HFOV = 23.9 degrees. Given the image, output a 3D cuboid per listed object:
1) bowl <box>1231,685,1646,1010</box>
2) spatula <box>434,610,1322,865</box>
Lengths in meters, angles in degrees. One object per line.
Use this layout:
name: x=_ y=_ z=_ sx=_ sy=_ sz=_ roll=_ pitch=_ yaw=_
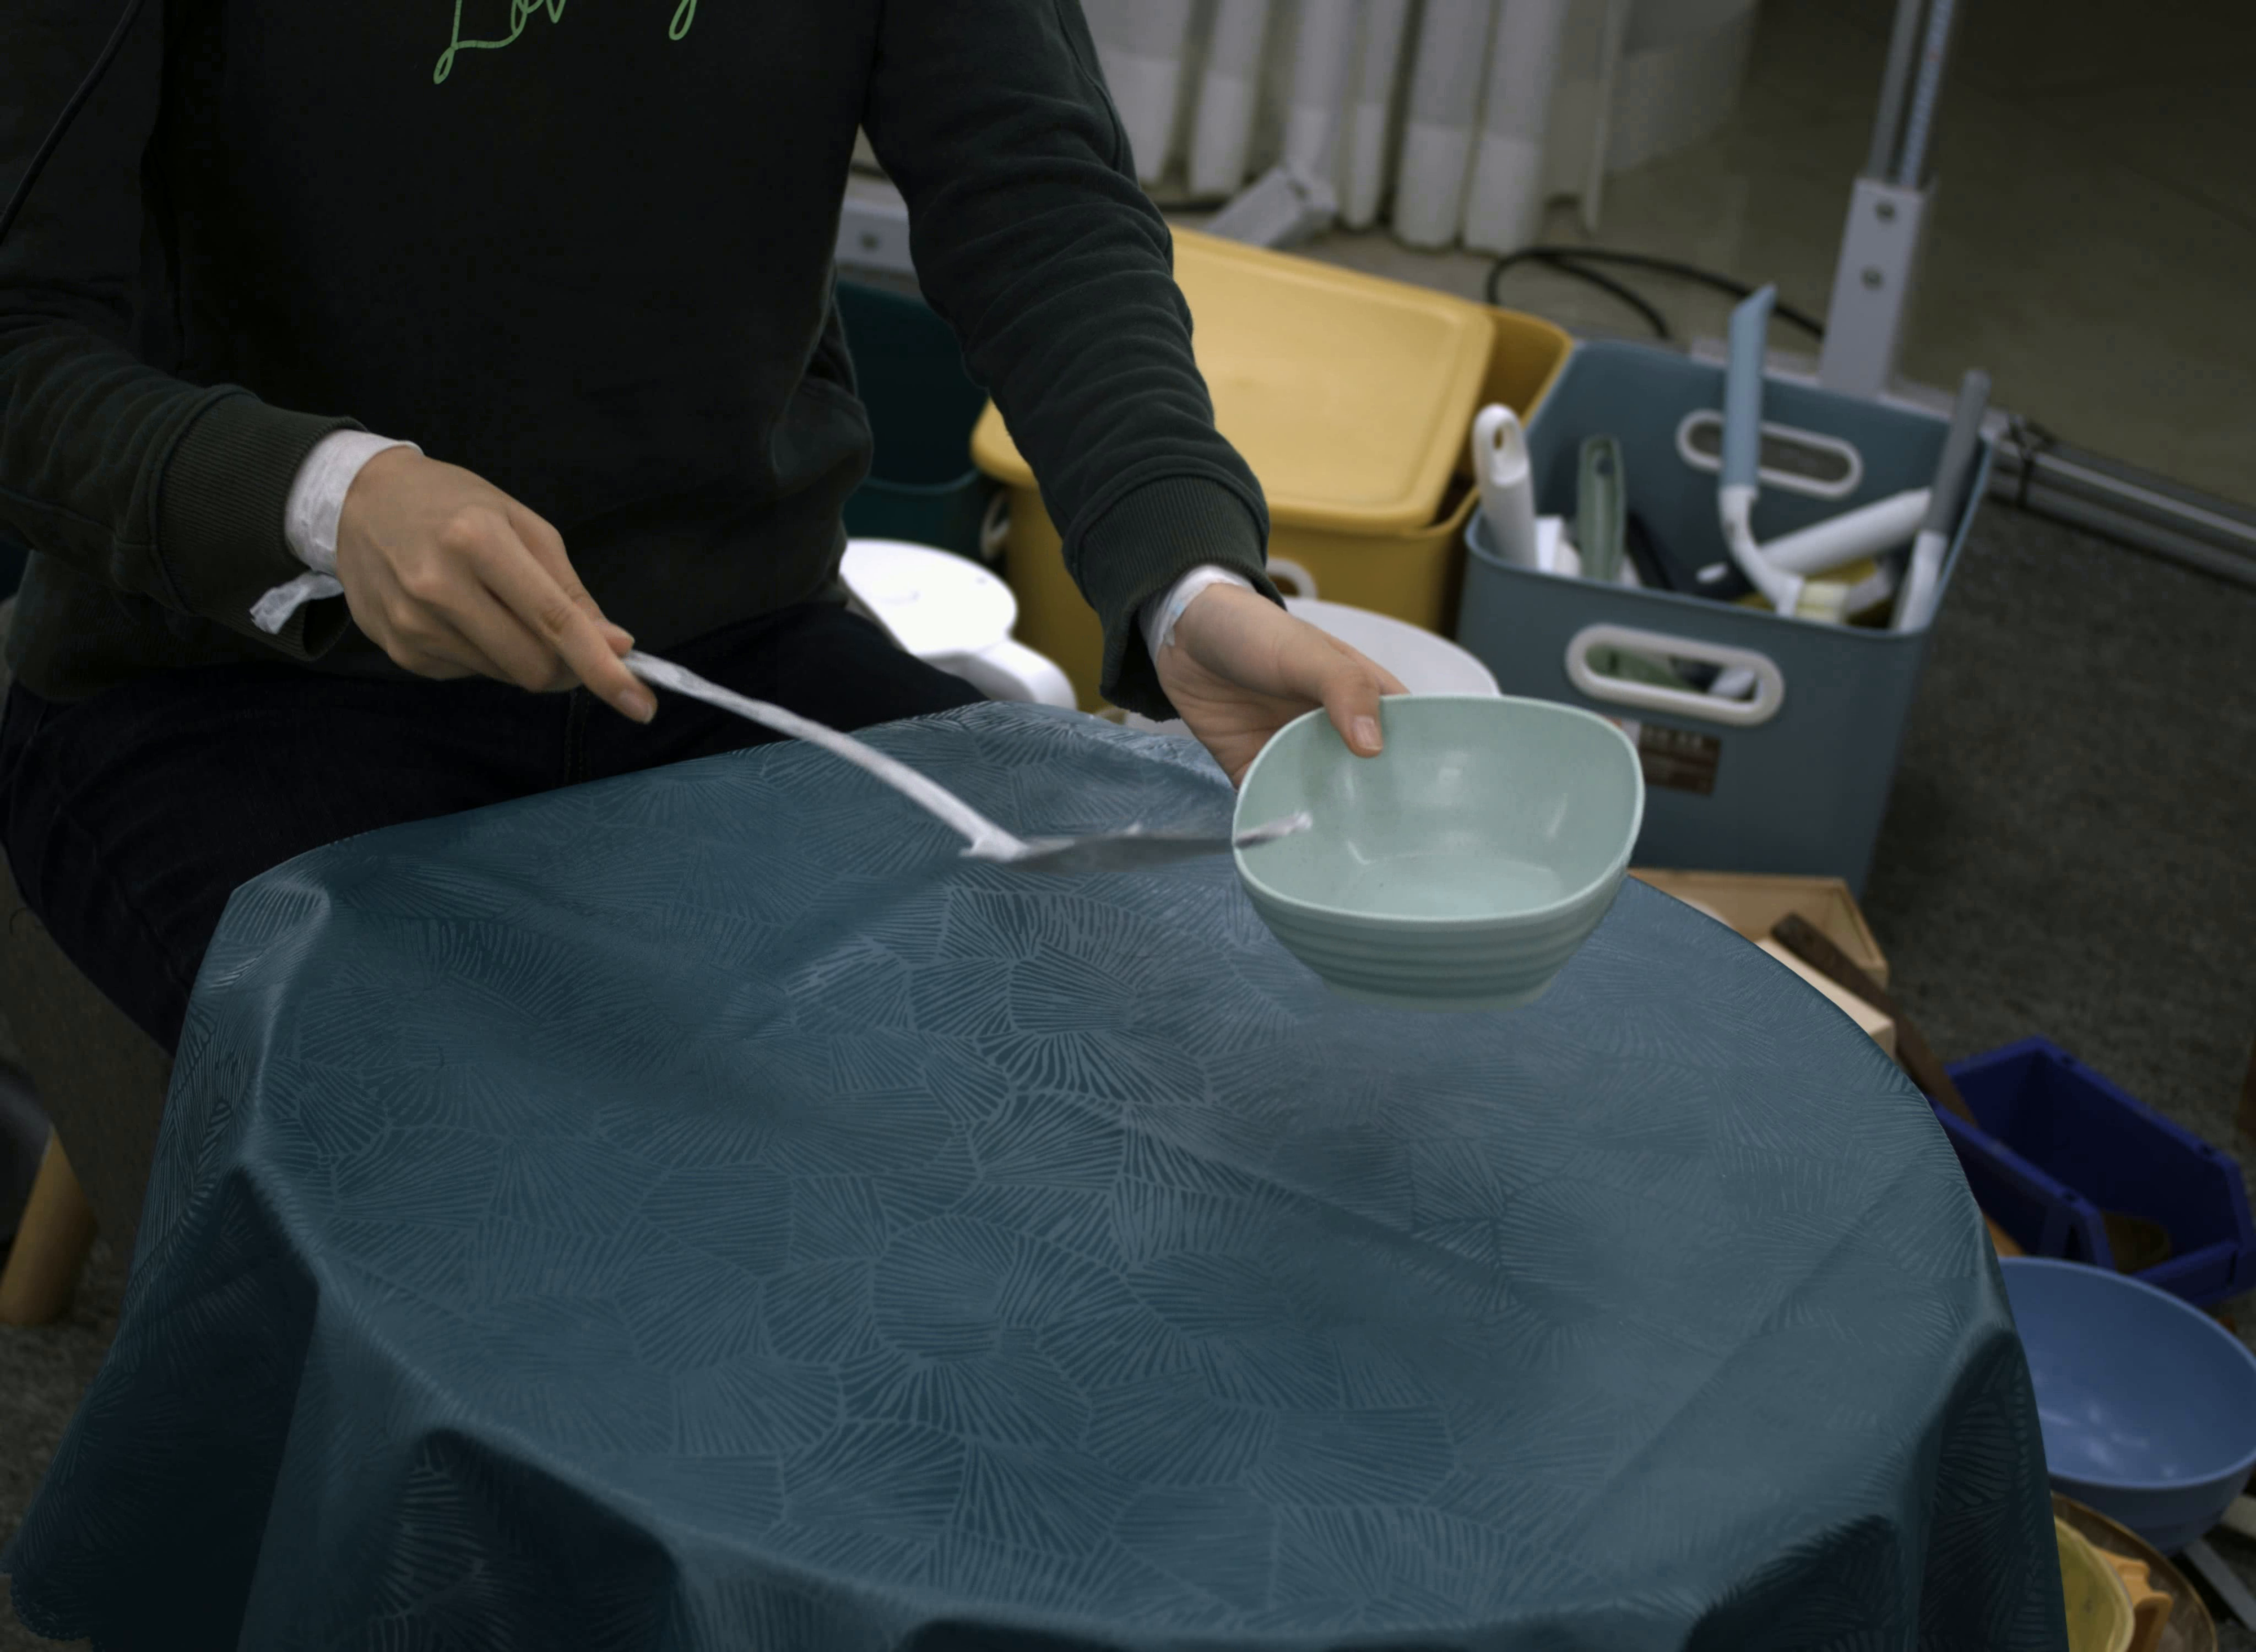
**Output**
bowl: x=0.106 y=0.014 z=1.805 sx=0.151 sy=0.058 sz=0.152 roll=-3 pitch=35 yaw=2
spatula: x=-0.102 y=-0.038 z=1.757 sx=0.367 sy=0.045 sz=0.098 roll=21 pitch=16 yaw=34
